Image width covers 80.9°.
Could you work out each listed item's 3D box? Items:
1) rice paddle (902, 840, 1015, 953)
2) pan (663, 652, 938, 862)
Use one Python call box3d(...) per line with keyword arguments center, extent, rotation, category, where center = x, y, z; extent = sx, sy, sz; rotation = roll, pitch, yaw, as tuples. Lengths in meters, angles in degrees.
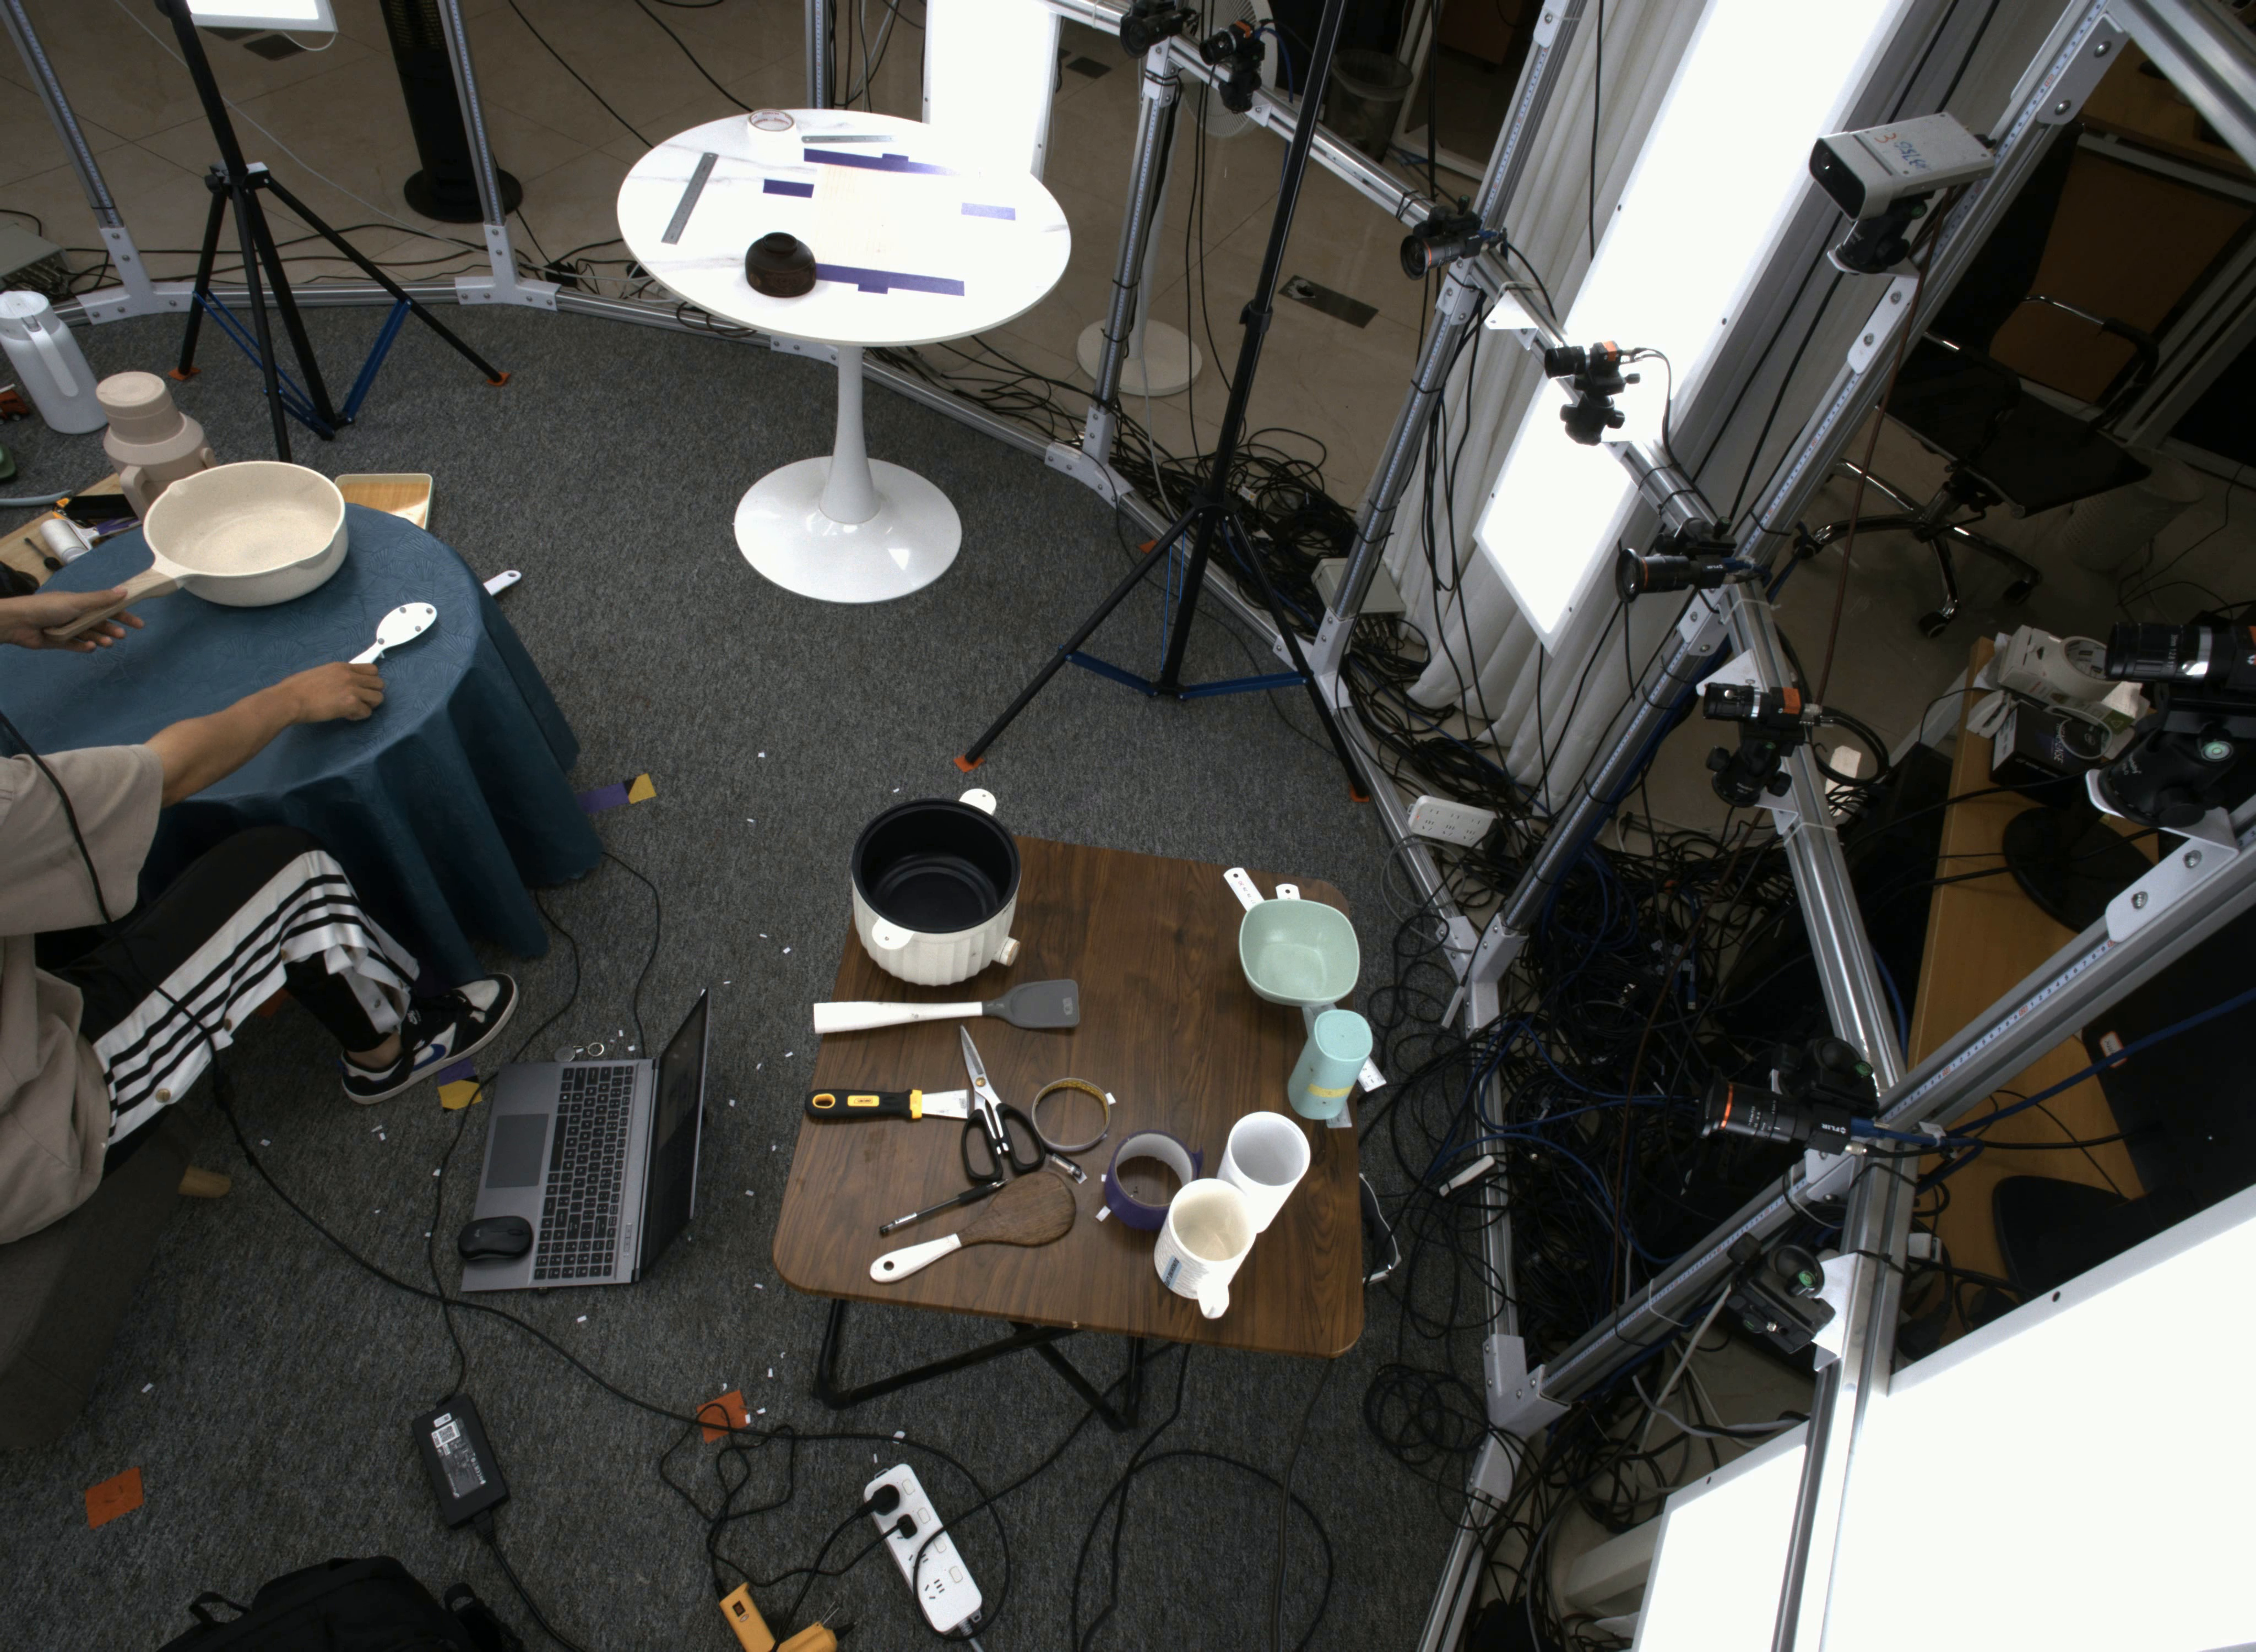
box3d(center=(-0.220, 0.084, 1.700), extent=(0.067, 0.030, 0.205), rotation=(31, 53, 14), category="rice paddle")
box3d(center=(-0.441, -0.068, 1.721), extent=(0.258, 0.104, 0.435), rotation=(37, 55, 13), category="pan")
